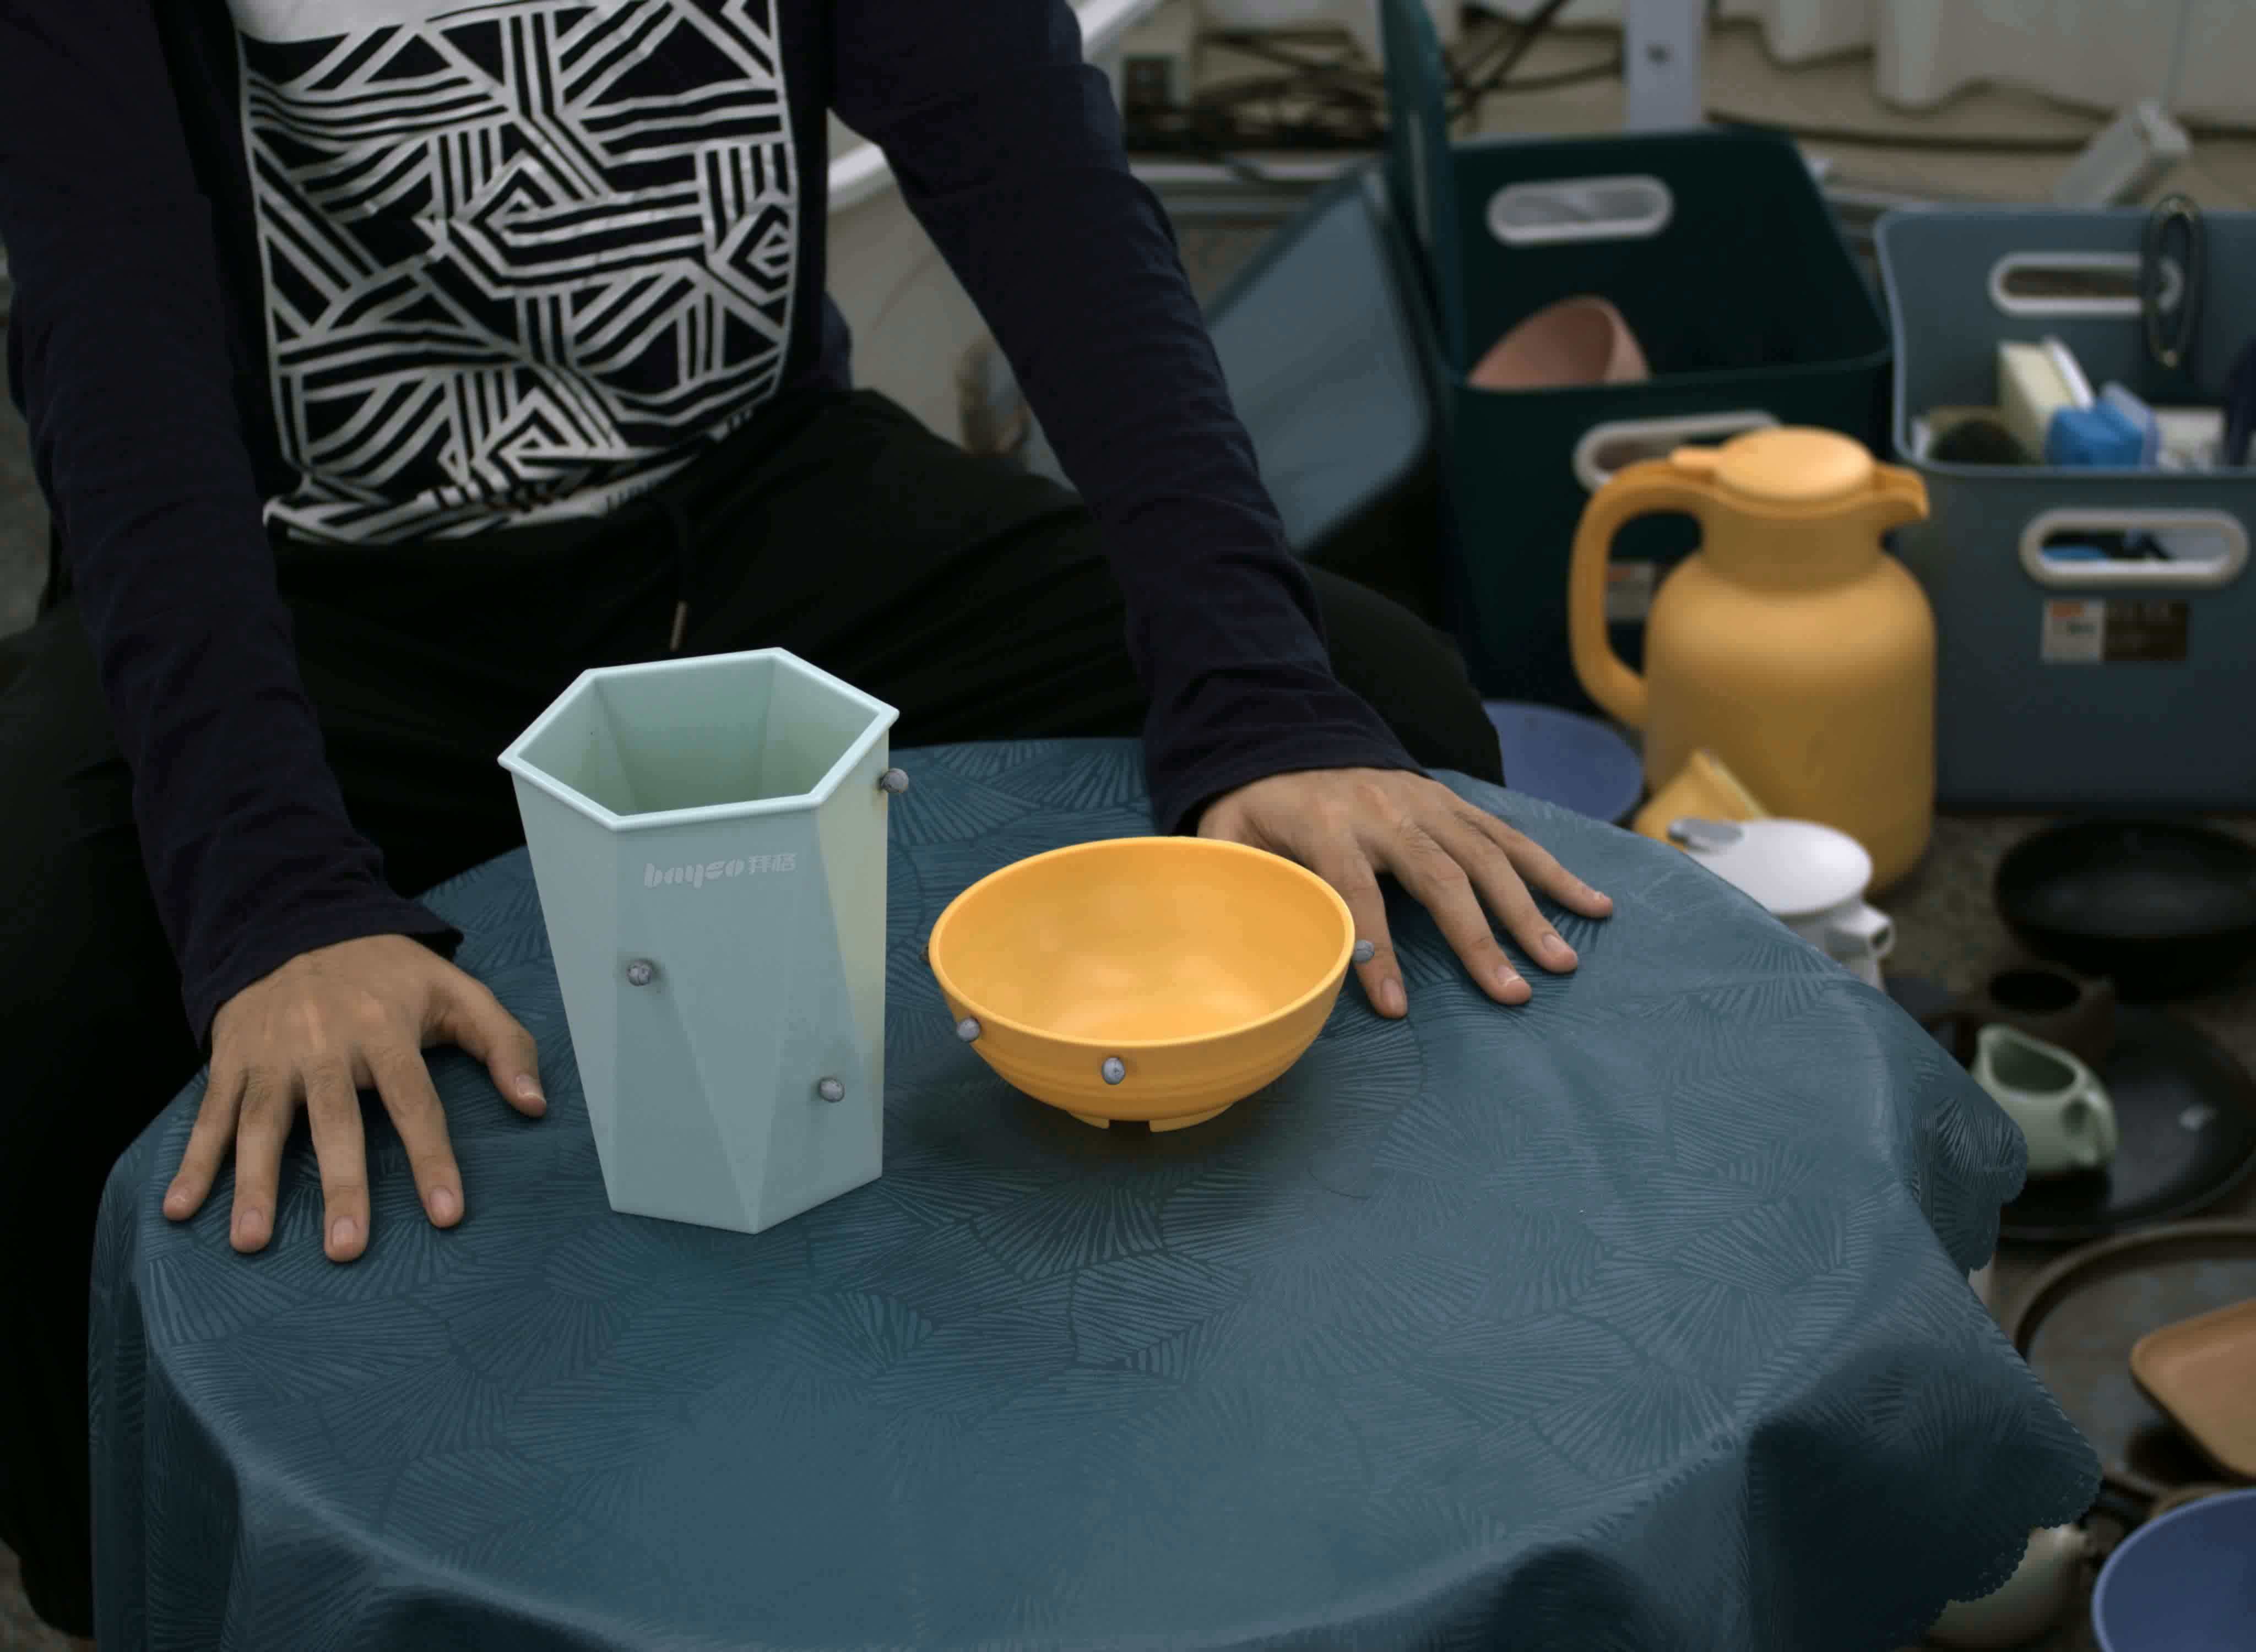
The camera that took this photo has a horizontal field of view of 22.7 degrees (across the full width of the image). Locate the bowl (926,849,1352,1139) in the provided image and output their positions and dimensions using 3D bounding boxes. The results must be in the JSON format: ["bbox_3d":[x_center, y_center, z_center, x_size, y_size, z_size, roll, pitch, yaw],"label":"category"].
[{"bbox_3d":[0.004,0.065,1.912,0.144,0.059,0.147,-1,25,1],"label":"bowl"}]

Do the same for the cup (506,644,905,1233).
[{"bbox_3d":[-0.133,0.040,1.855,0.131,0.161,0.116,-7,25,-9],"label":"cup"}]
